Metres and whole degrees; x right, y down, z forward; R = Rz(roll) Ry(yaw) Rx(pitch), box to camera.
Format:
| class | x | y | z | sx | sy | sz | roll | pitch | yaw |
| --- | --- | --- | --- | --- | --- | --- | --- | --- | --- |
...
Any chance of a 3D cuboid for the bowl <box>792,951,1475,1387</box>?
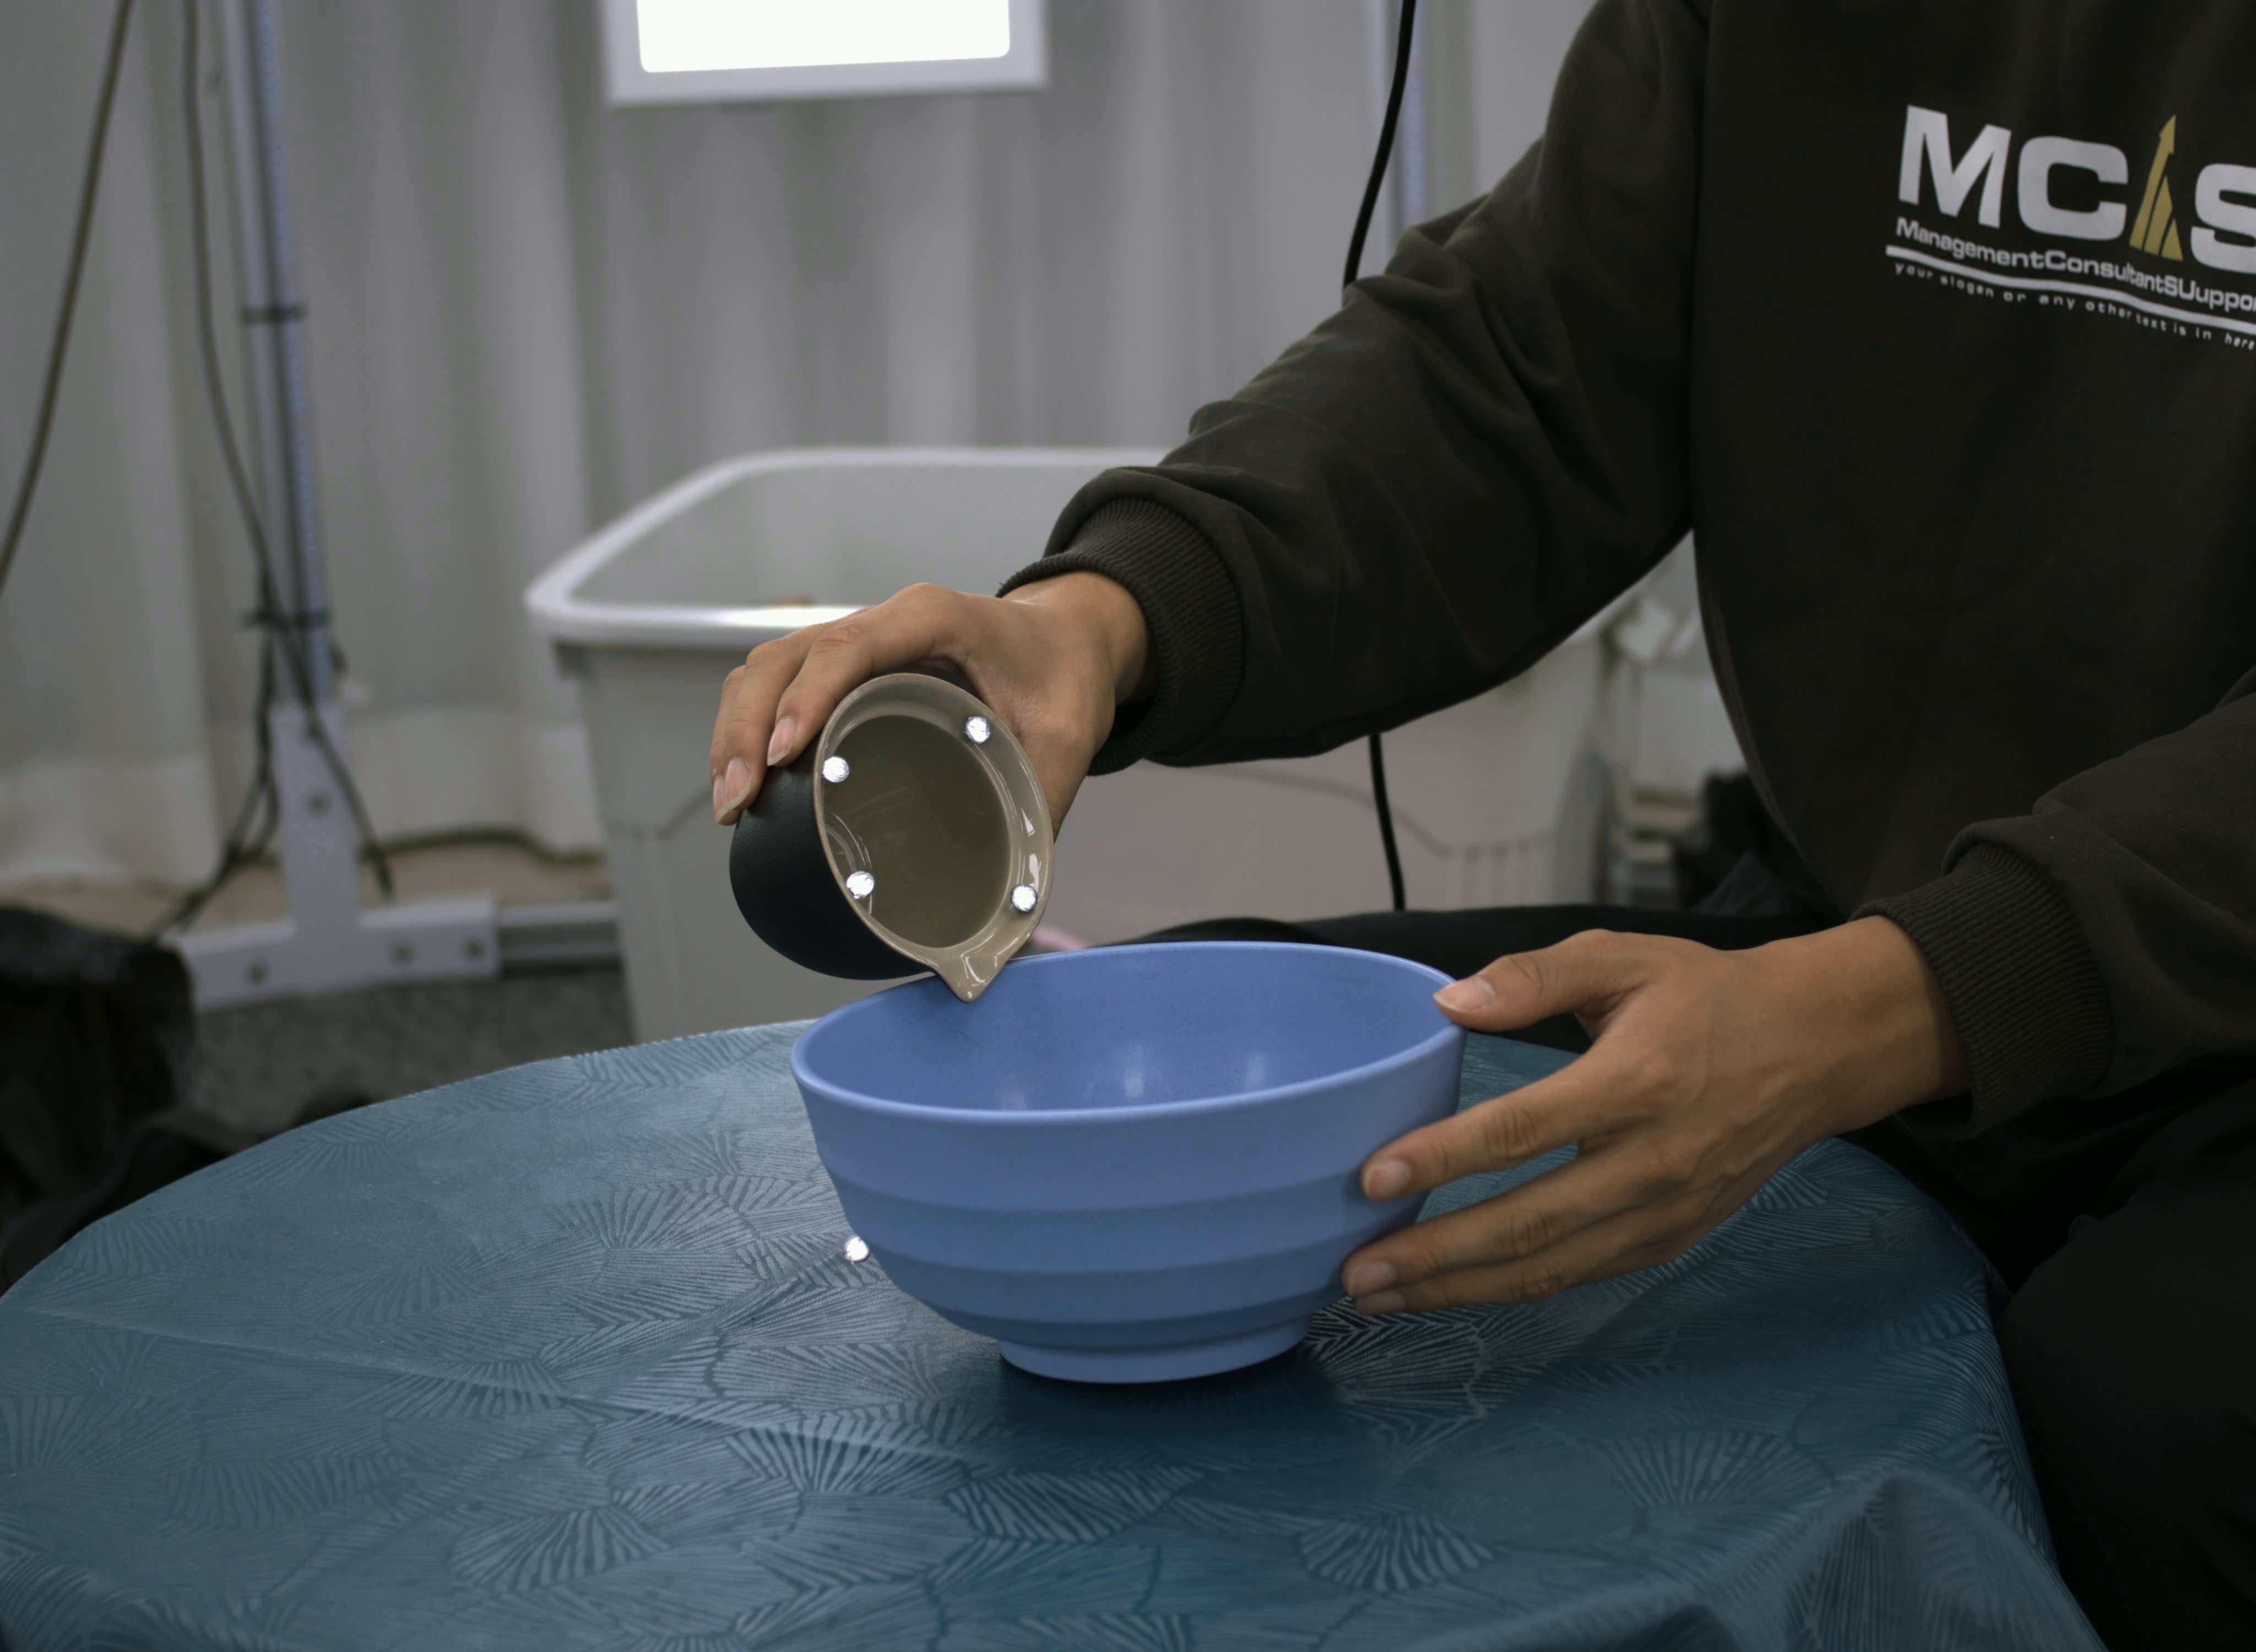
| class | x | y | z | sx | sy | sz | roll | pitch | yaw |
| --- | --- | --- | --- | --- | --- | --- | --- | --- | --- |
| bowl | 0.004 | 0.103 | 1.575 | 0.196 | 0.095 | 0.197 | -3 | 11 | 0 |

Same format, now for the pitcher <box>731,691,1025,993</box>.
| class | x | y | z | sx | sy | sz | roll | pitch | yaw |
| --- | --- | --- | --- | --- | --- | --- | --- | --- | --- |
| pitcher | -0.079 | 0.013 | 1.666 | 0.083 | 0.096 | 0.071 | -6 | -12 | -45 |
